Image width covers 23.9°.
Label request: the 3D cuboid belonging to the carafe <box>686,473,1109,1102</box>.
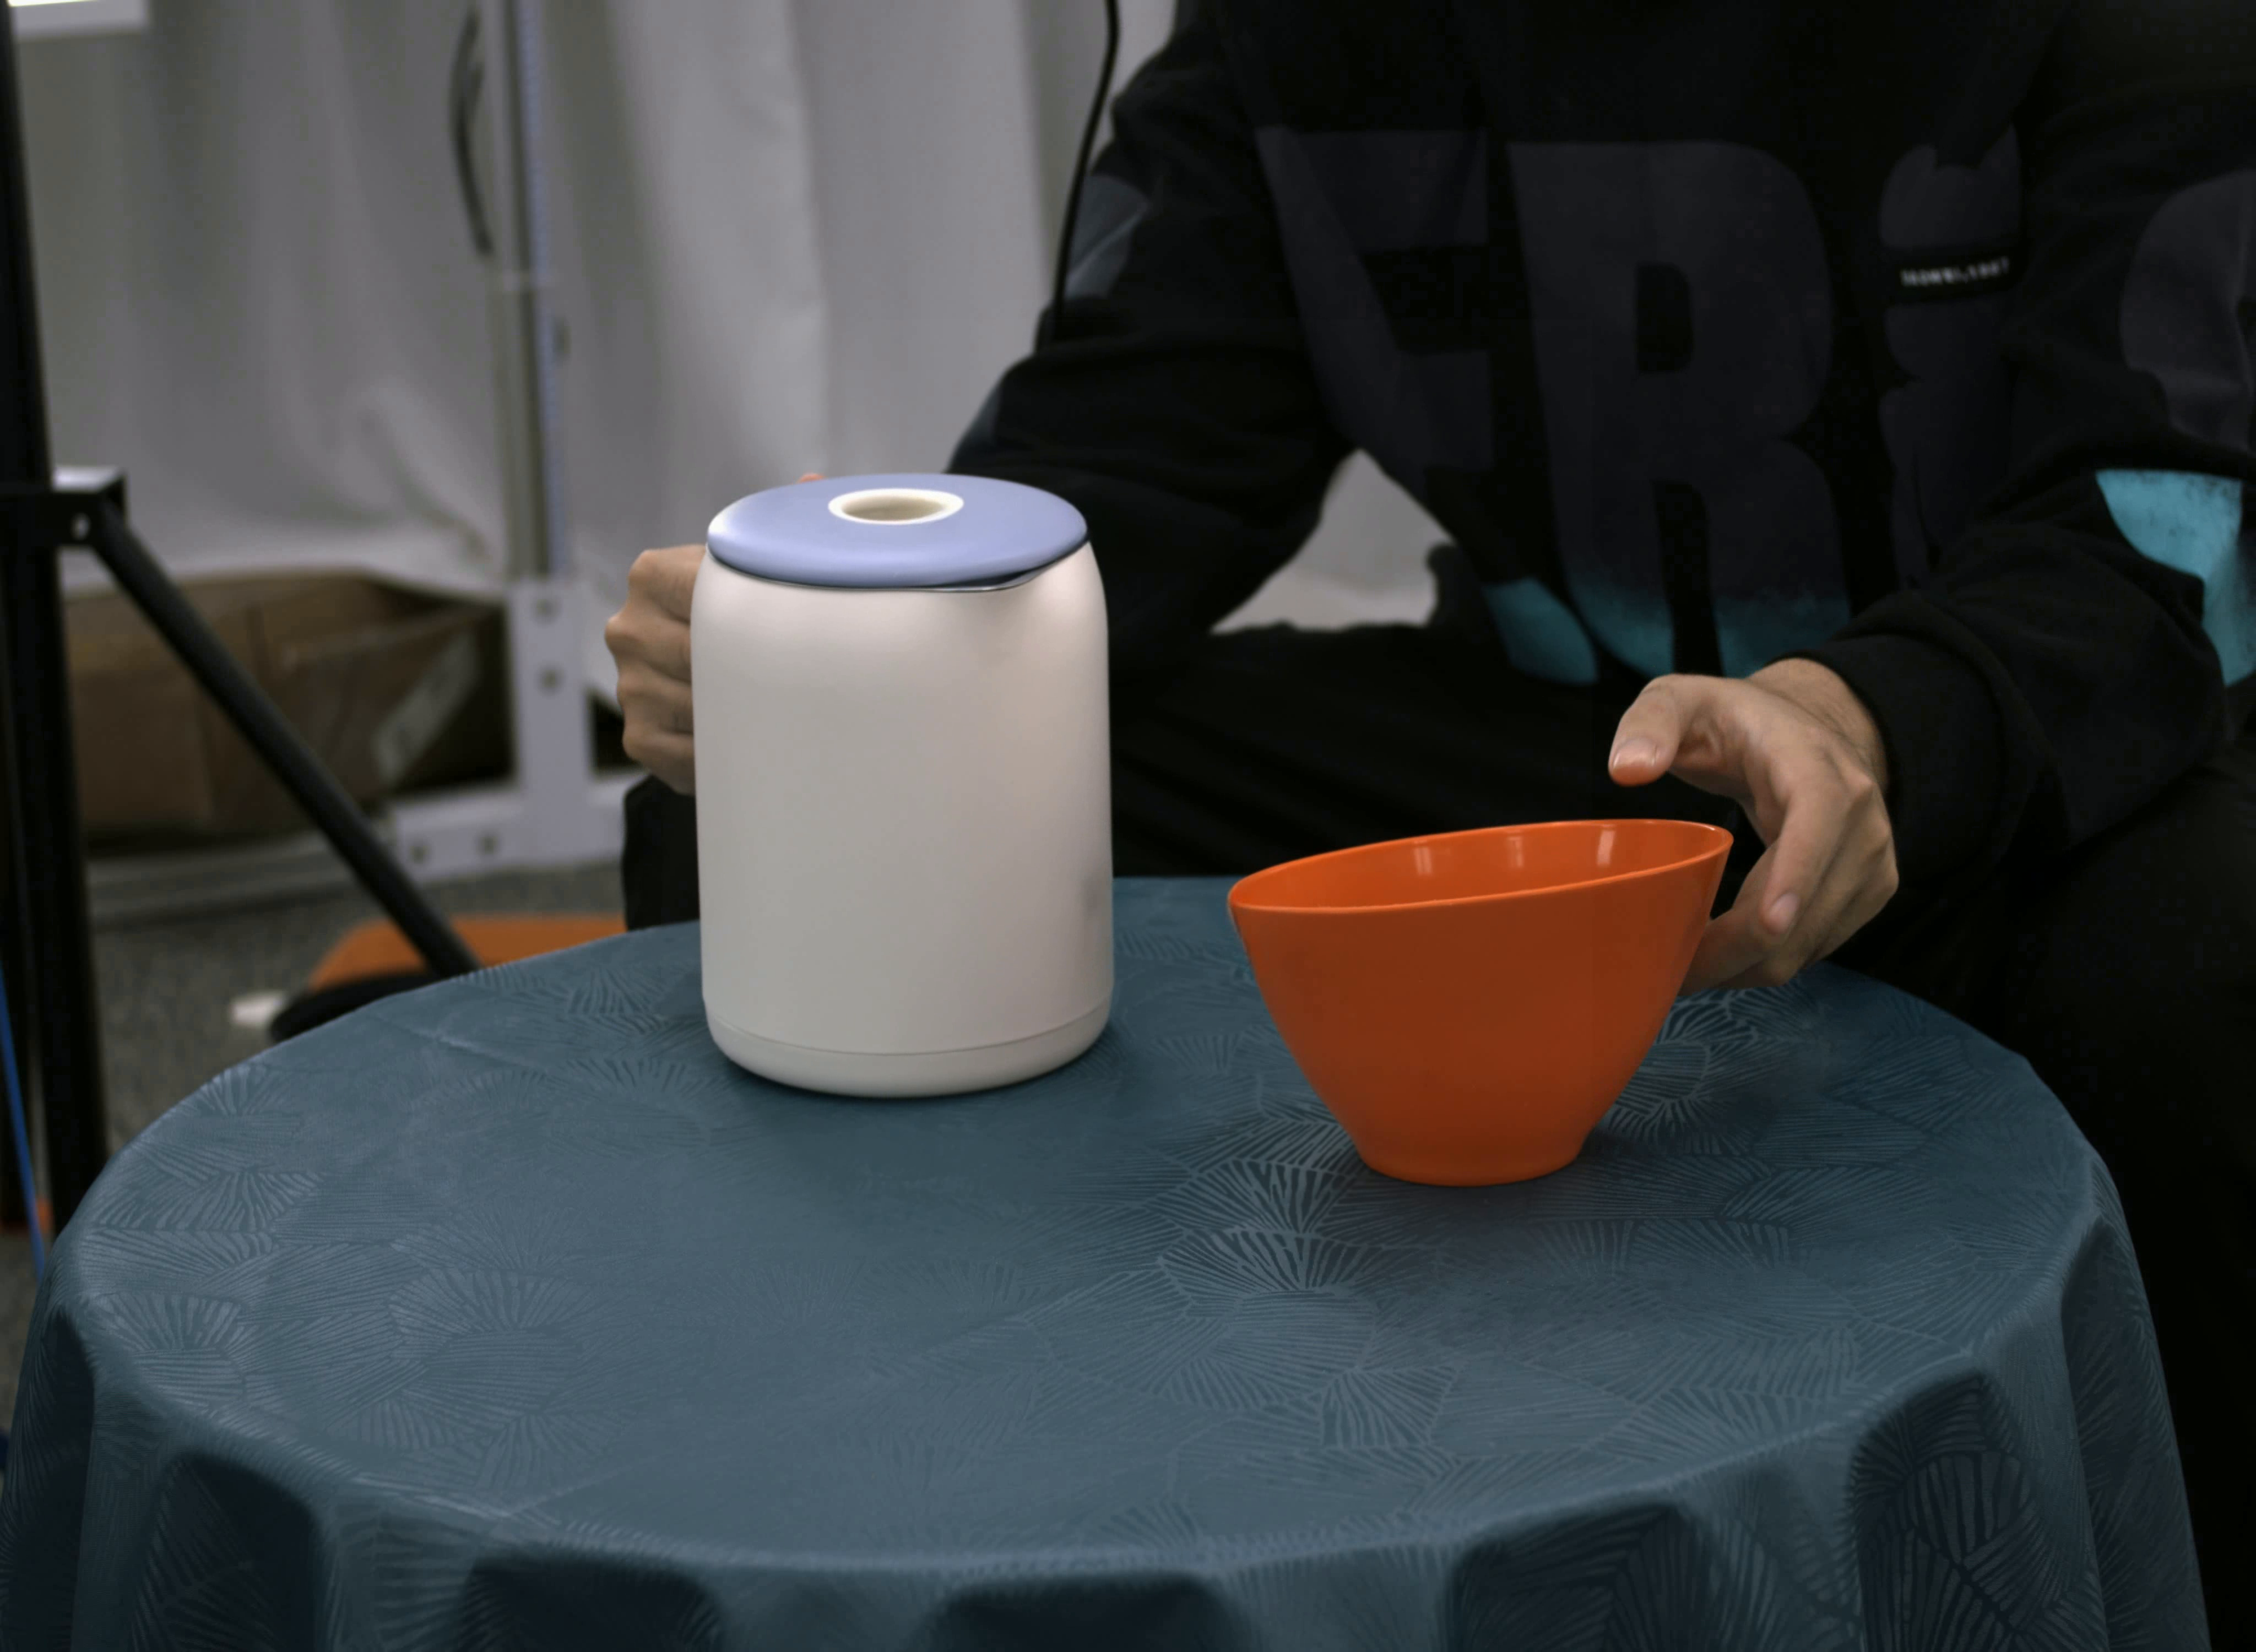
[{"bbox_3d":[-0.085,-0.018,1.700,0.129,0.182,0.195,-10,16,-30],"label":"carafe"}]

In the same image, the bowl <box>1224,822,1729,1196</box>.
[{"bbox_3d":[0.102,0.052,1.553,0.147,0.104,0.149,-3,16,-1],"label":"bowl"}]
